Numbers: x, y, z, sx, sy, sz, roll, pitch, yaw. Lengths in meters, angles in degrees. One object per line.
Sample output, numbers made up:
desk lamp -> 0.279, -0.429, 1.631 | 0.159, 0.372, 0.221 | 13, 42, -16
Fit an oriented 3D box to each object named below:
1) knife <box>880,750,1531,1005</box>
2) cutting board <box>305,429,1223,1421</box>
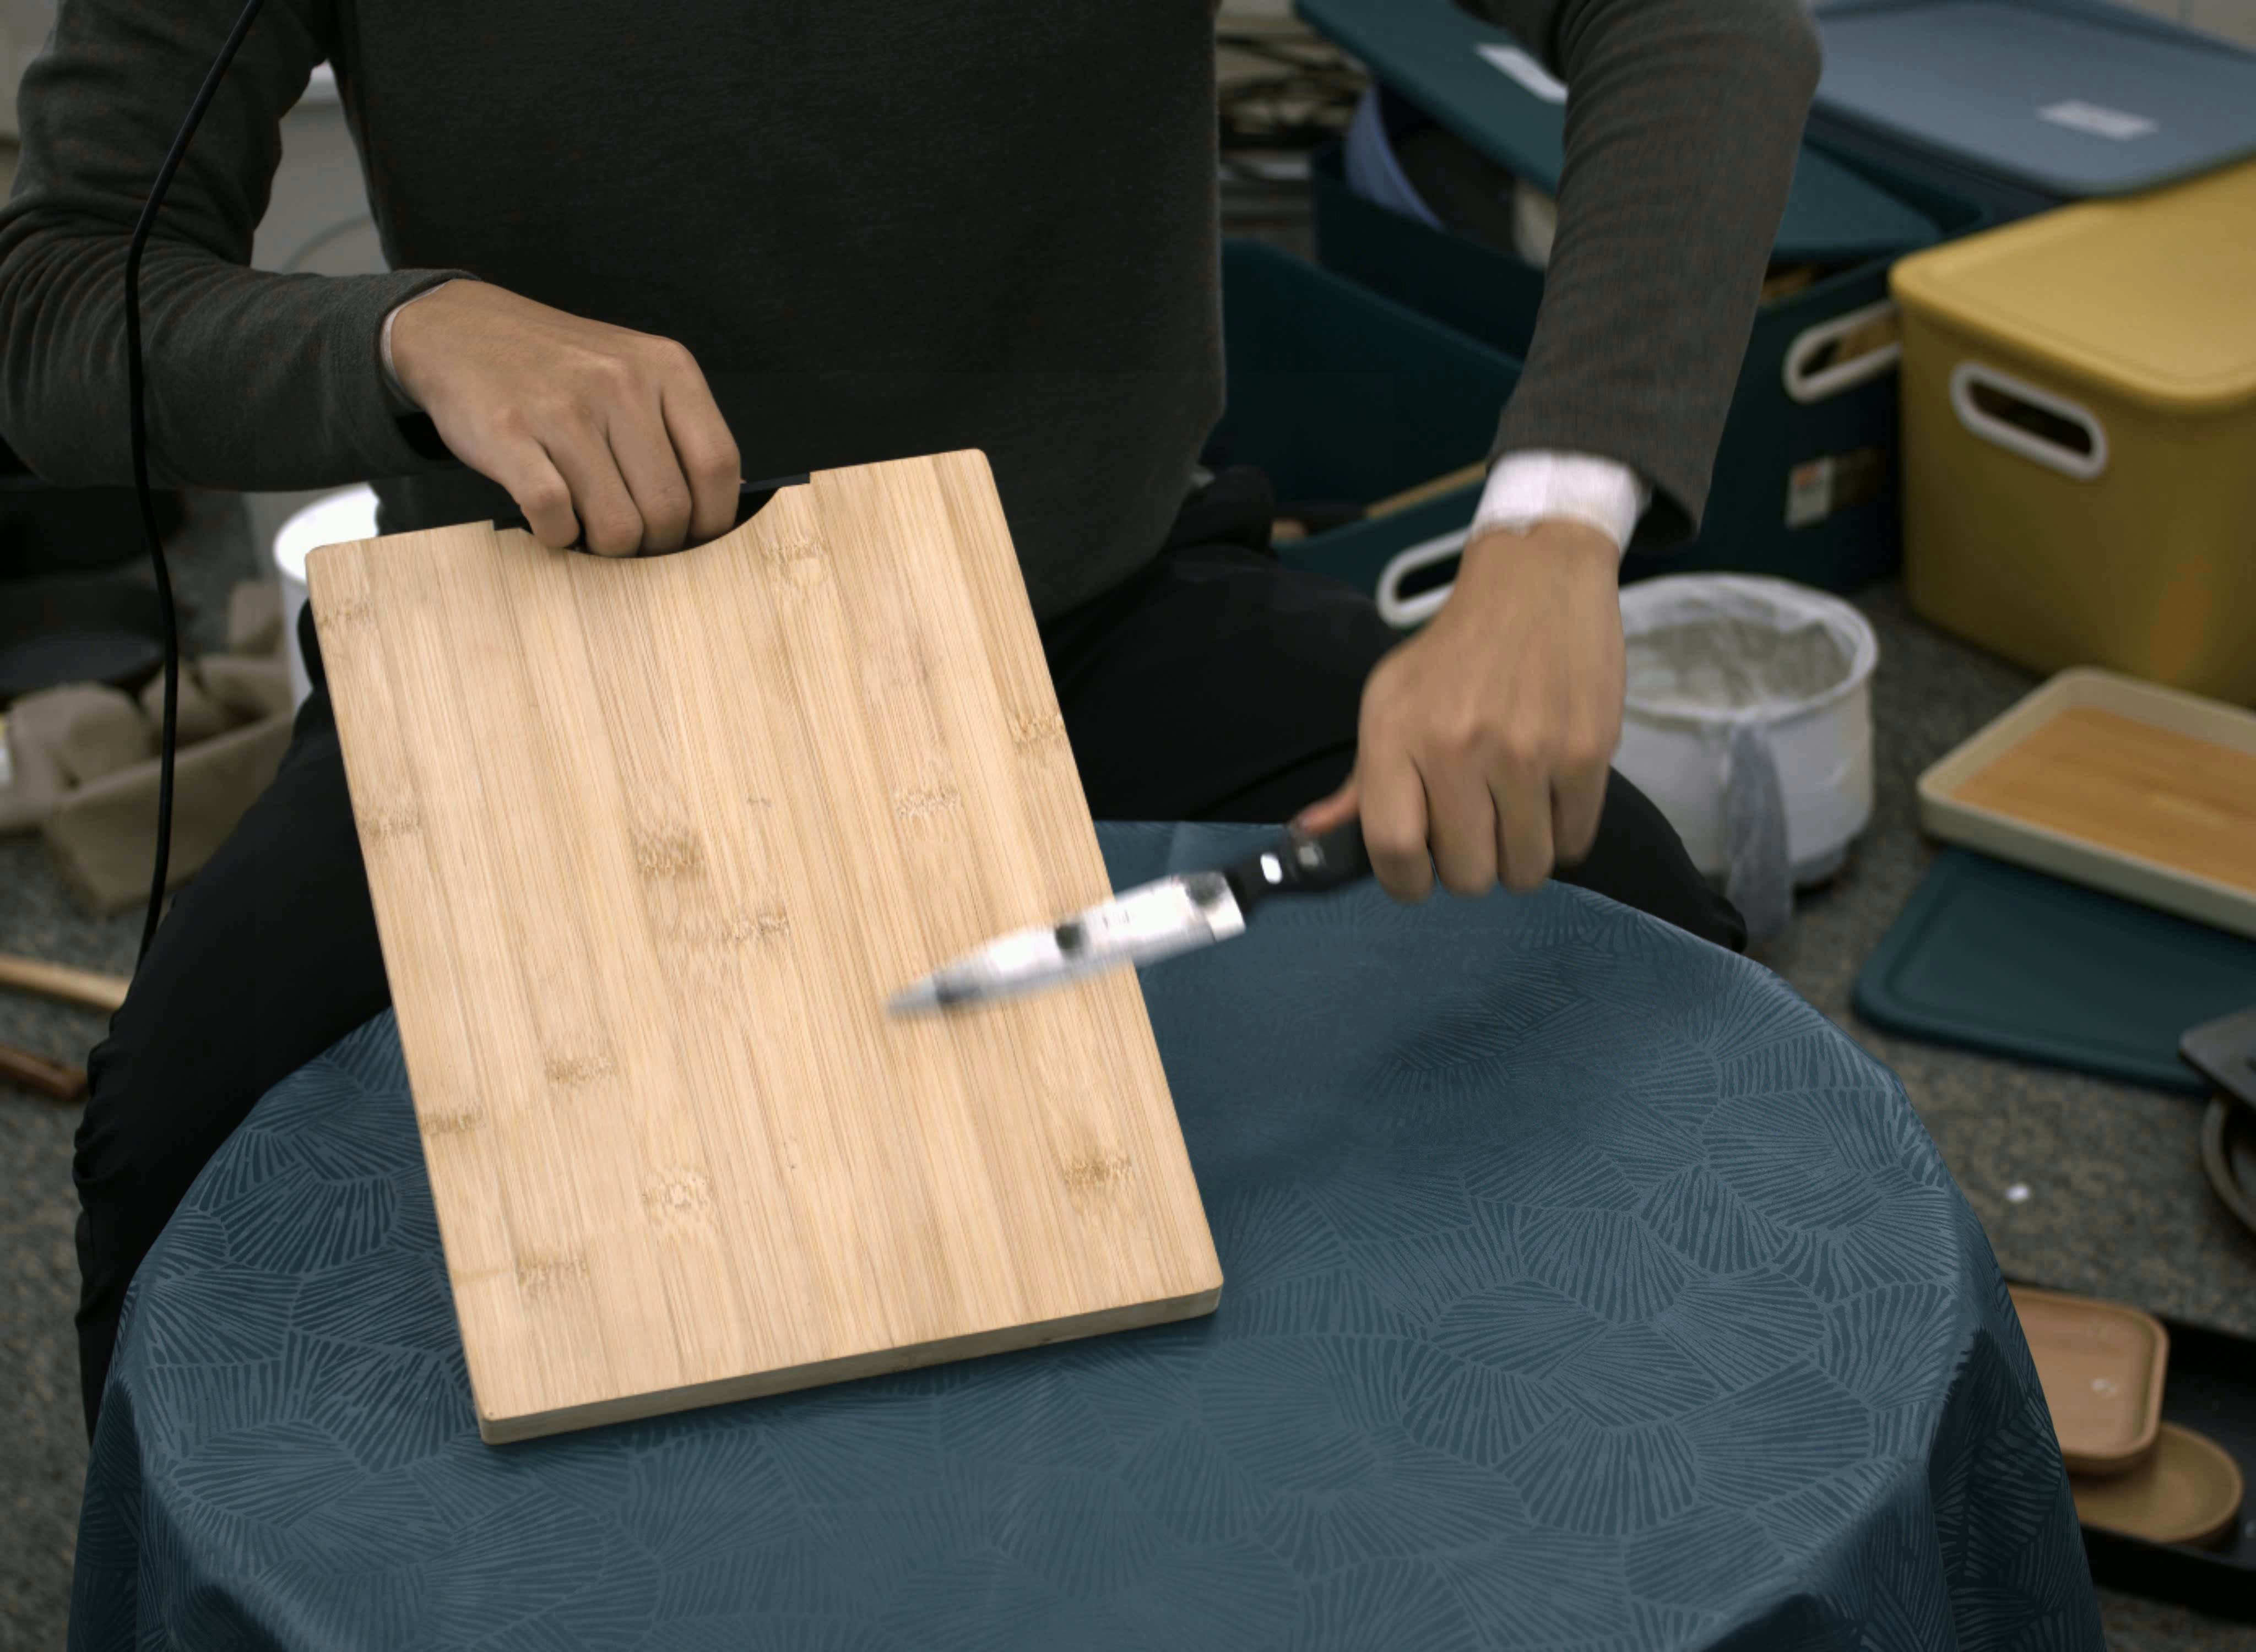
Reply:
knife -> 0.026, 0.018, 1.864 | 0.239, 0.016, 0.025 | -19, 71, -18
cutting board -> -0.126, 0.026, 1.856 | 0.251, 0.023, 0.354 | -9, 57, -13
